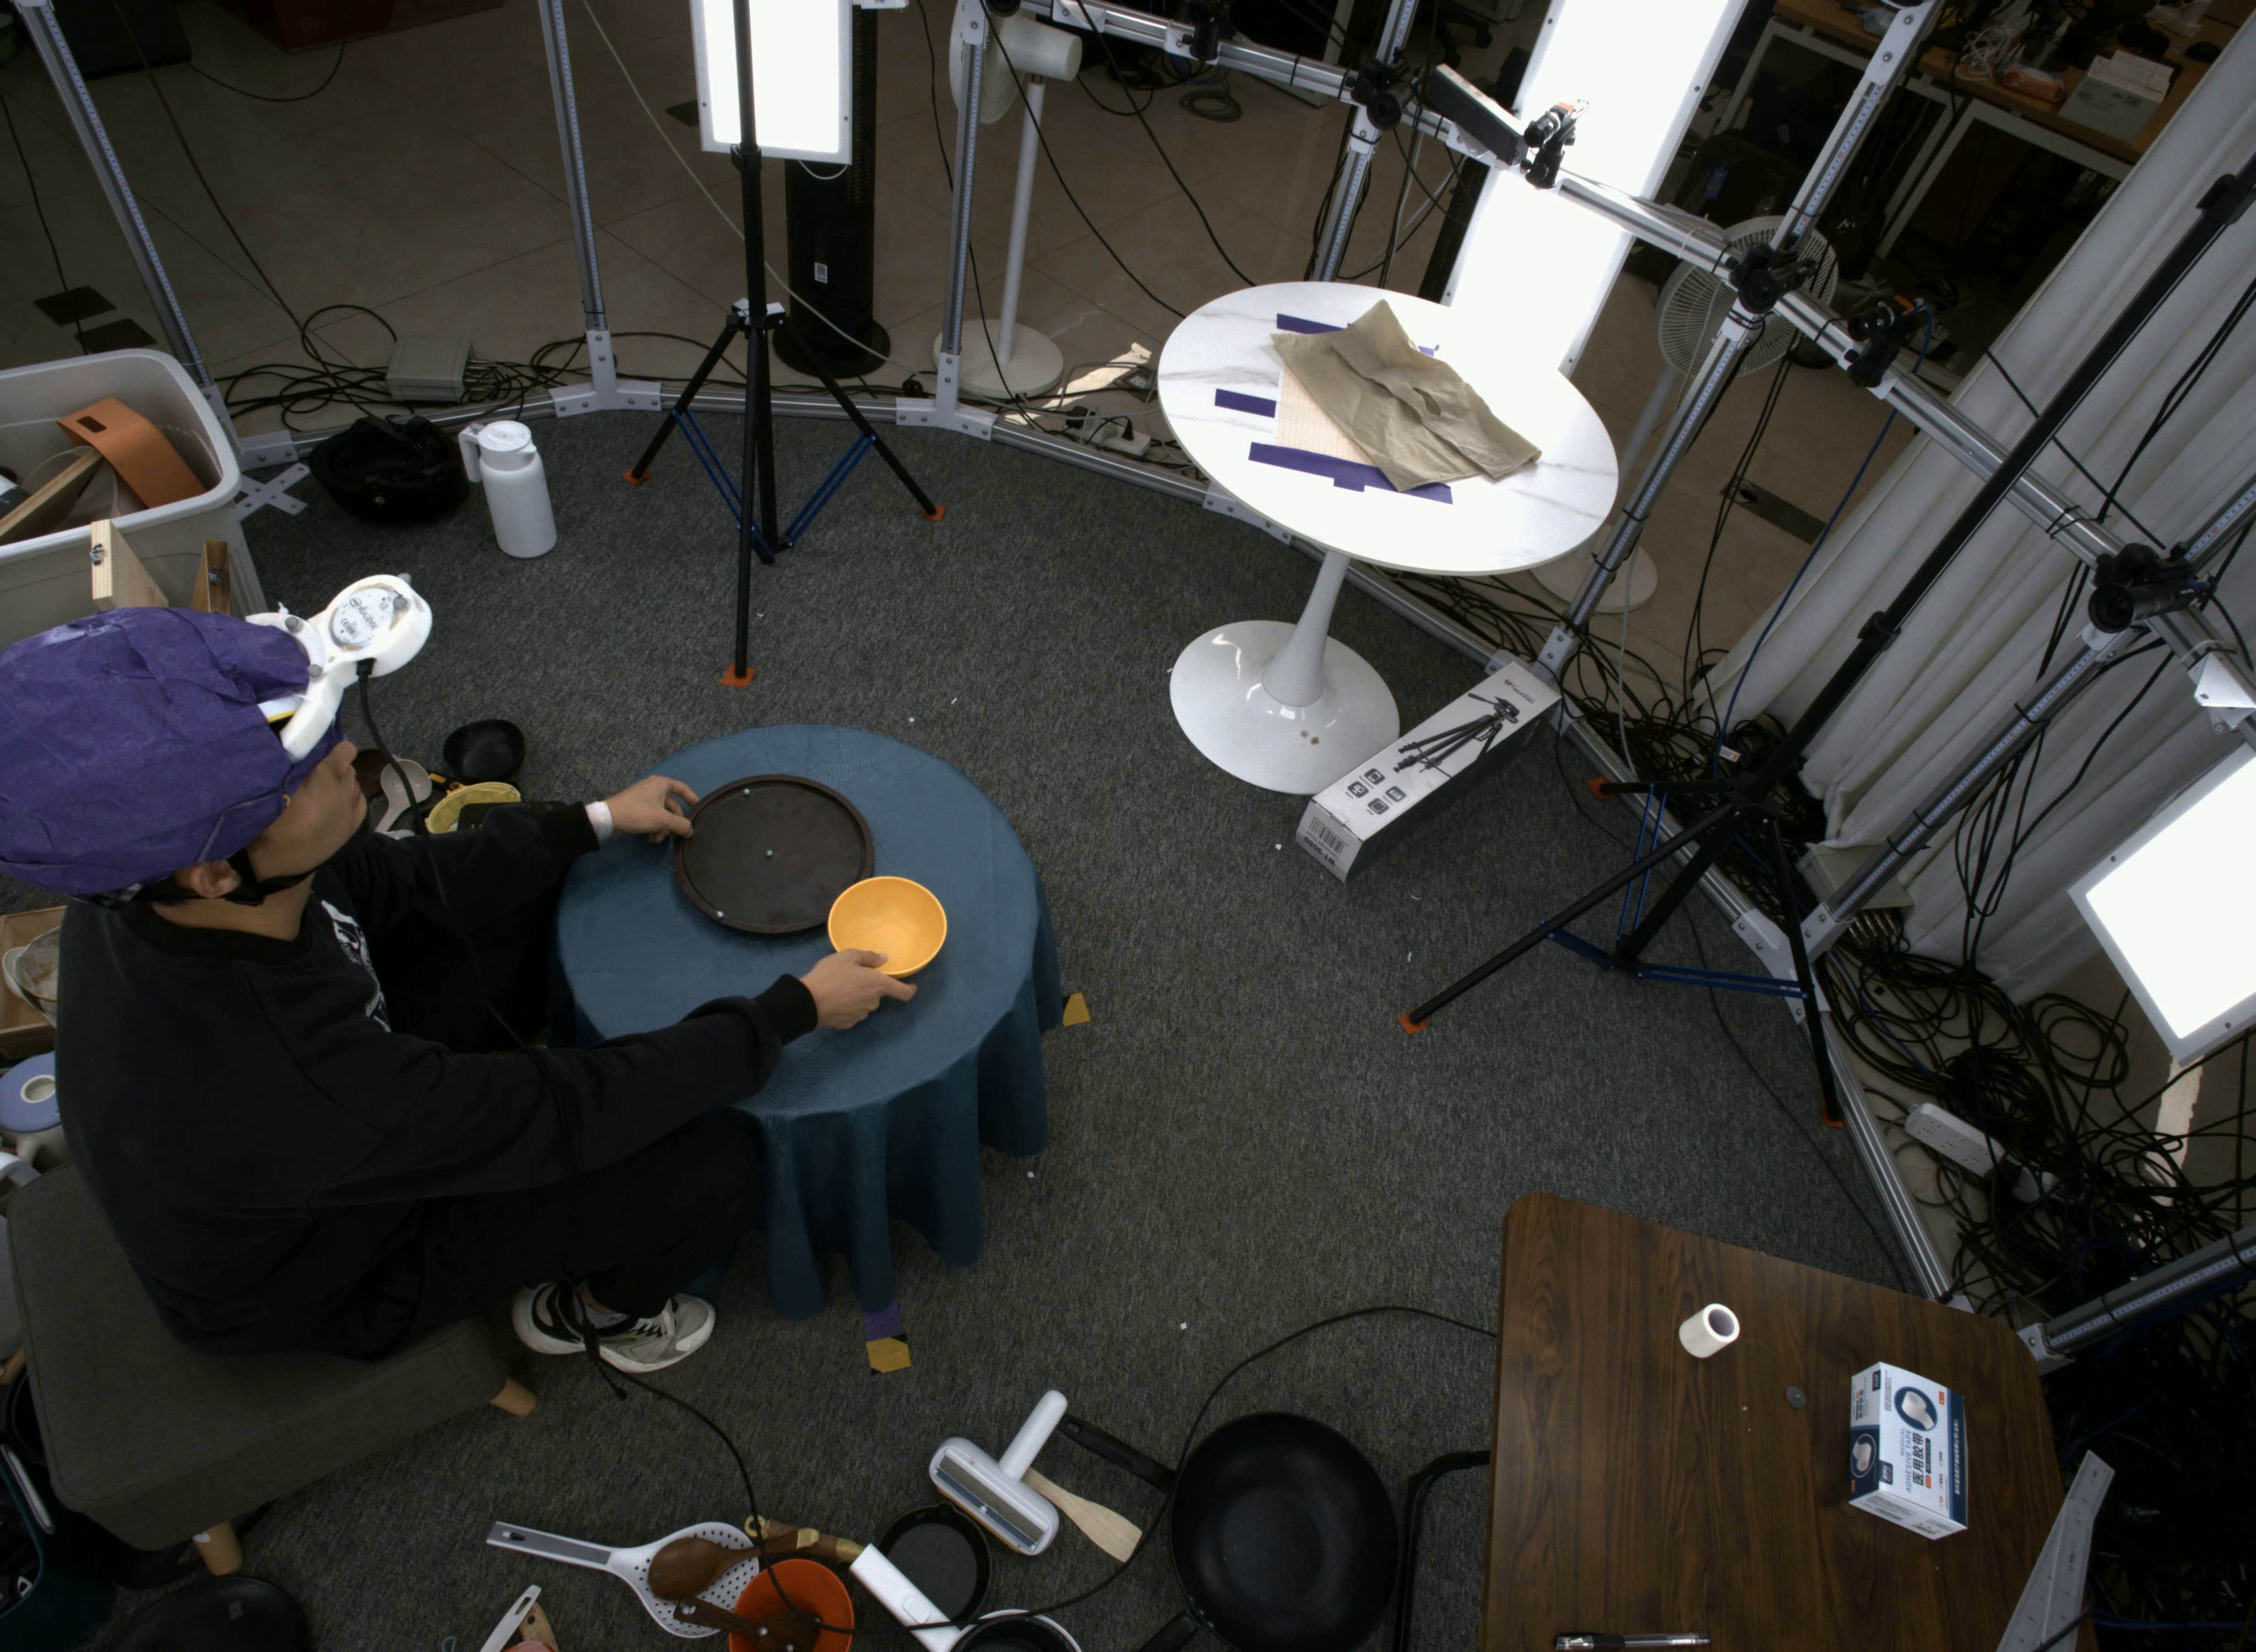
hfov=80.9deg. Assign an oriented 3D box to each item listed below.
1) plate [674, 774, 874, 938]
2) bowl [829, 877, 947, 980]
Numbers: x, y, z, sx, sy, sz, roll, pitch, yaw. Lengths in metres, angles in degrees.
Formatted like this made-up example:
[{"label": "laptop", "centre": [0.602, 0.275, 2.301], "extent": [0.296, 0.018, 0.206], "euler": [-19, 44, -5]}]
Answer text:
[{"label": "plate", "centre": [-0.457, 0.036, 1.677], "extent": [0.255, 0.029, 0.250], "euler": [9, 54, -11]}, {"label": "bowl", "centre": [-0.298, 0.137, 1.623], "extent": [0.144, 0.061, 0.143], "euler": [6, 53, -6]}]
